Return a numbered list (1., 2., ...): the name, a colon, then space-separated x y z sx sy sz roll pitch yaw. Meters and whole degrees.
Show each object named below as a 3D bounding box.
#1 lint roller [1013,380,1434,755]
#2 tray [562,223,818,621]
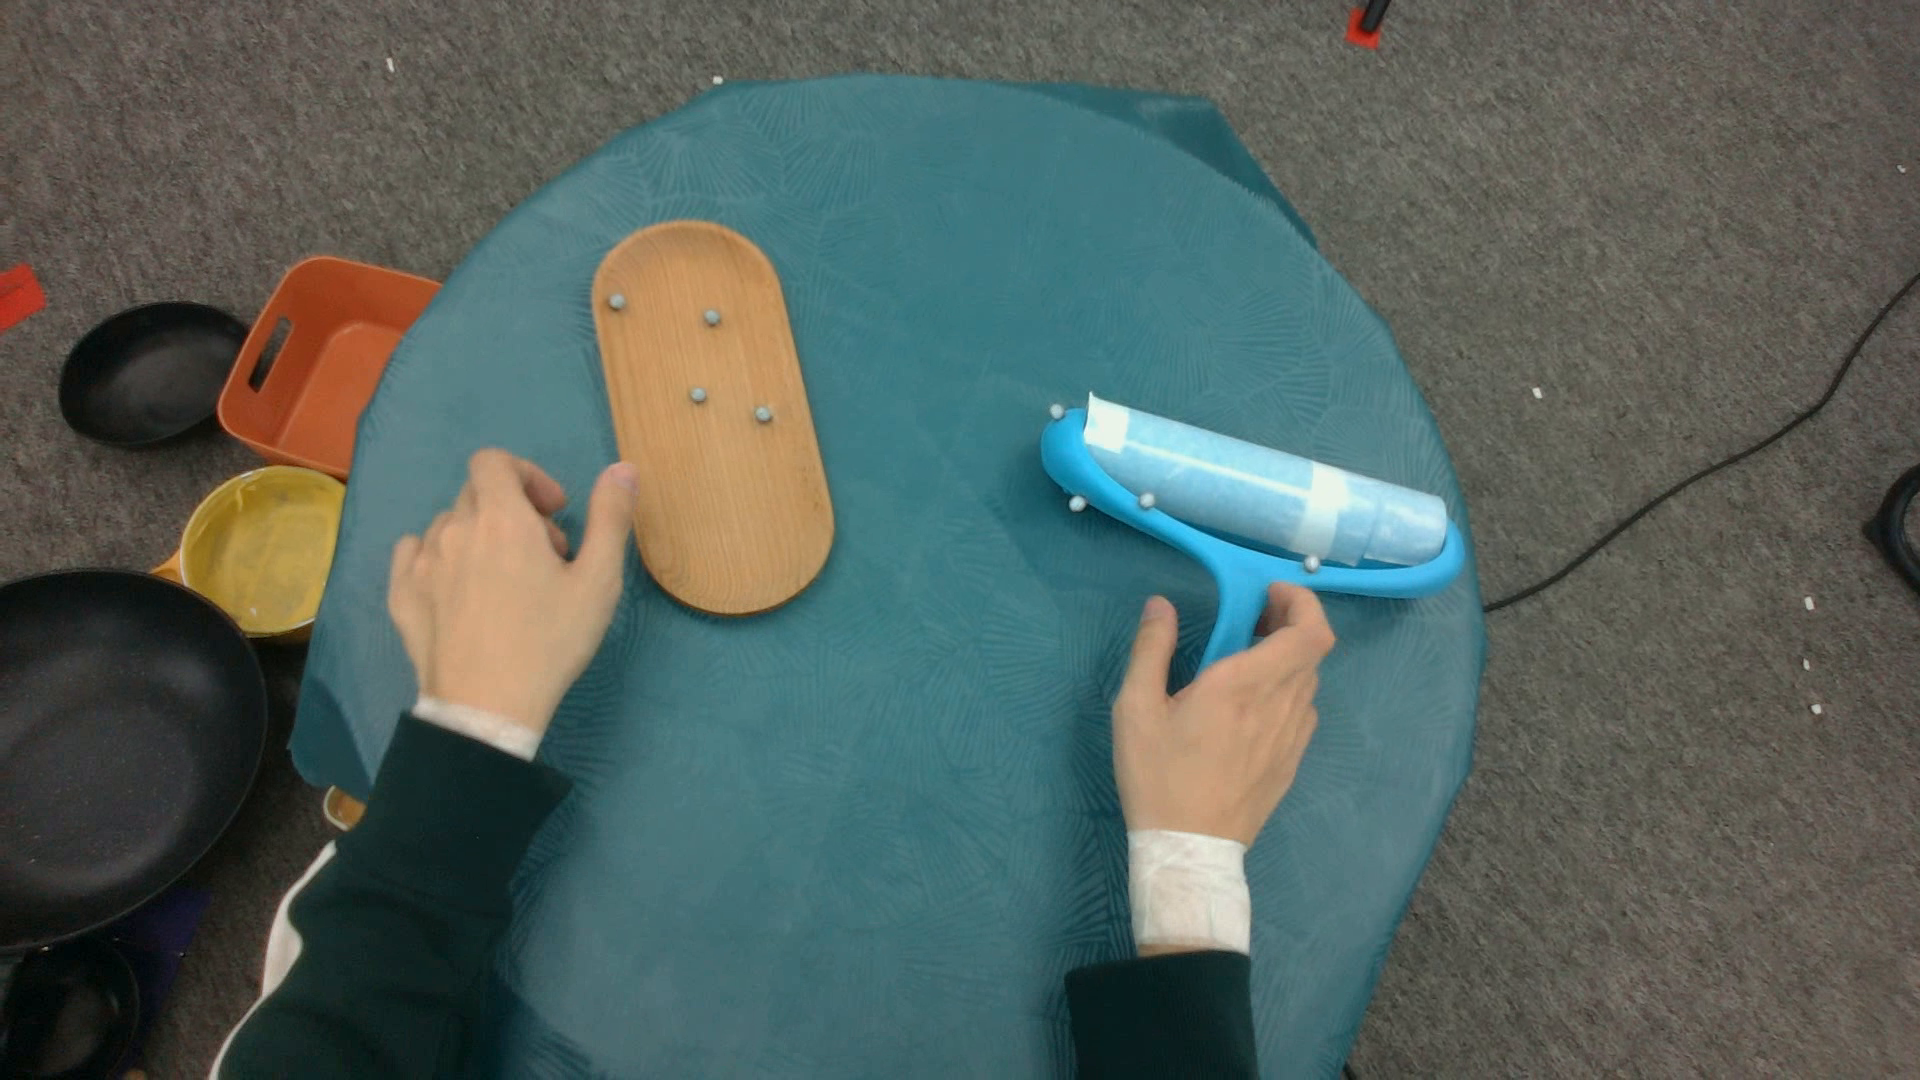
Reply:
1. lint roller: 0.130 0.017 0.706 0.229 0.067 0.181 13 66 -5
2. tray: -0.143 -0.066 0.722 0.102 0.020 0.231 -14 73 -12
